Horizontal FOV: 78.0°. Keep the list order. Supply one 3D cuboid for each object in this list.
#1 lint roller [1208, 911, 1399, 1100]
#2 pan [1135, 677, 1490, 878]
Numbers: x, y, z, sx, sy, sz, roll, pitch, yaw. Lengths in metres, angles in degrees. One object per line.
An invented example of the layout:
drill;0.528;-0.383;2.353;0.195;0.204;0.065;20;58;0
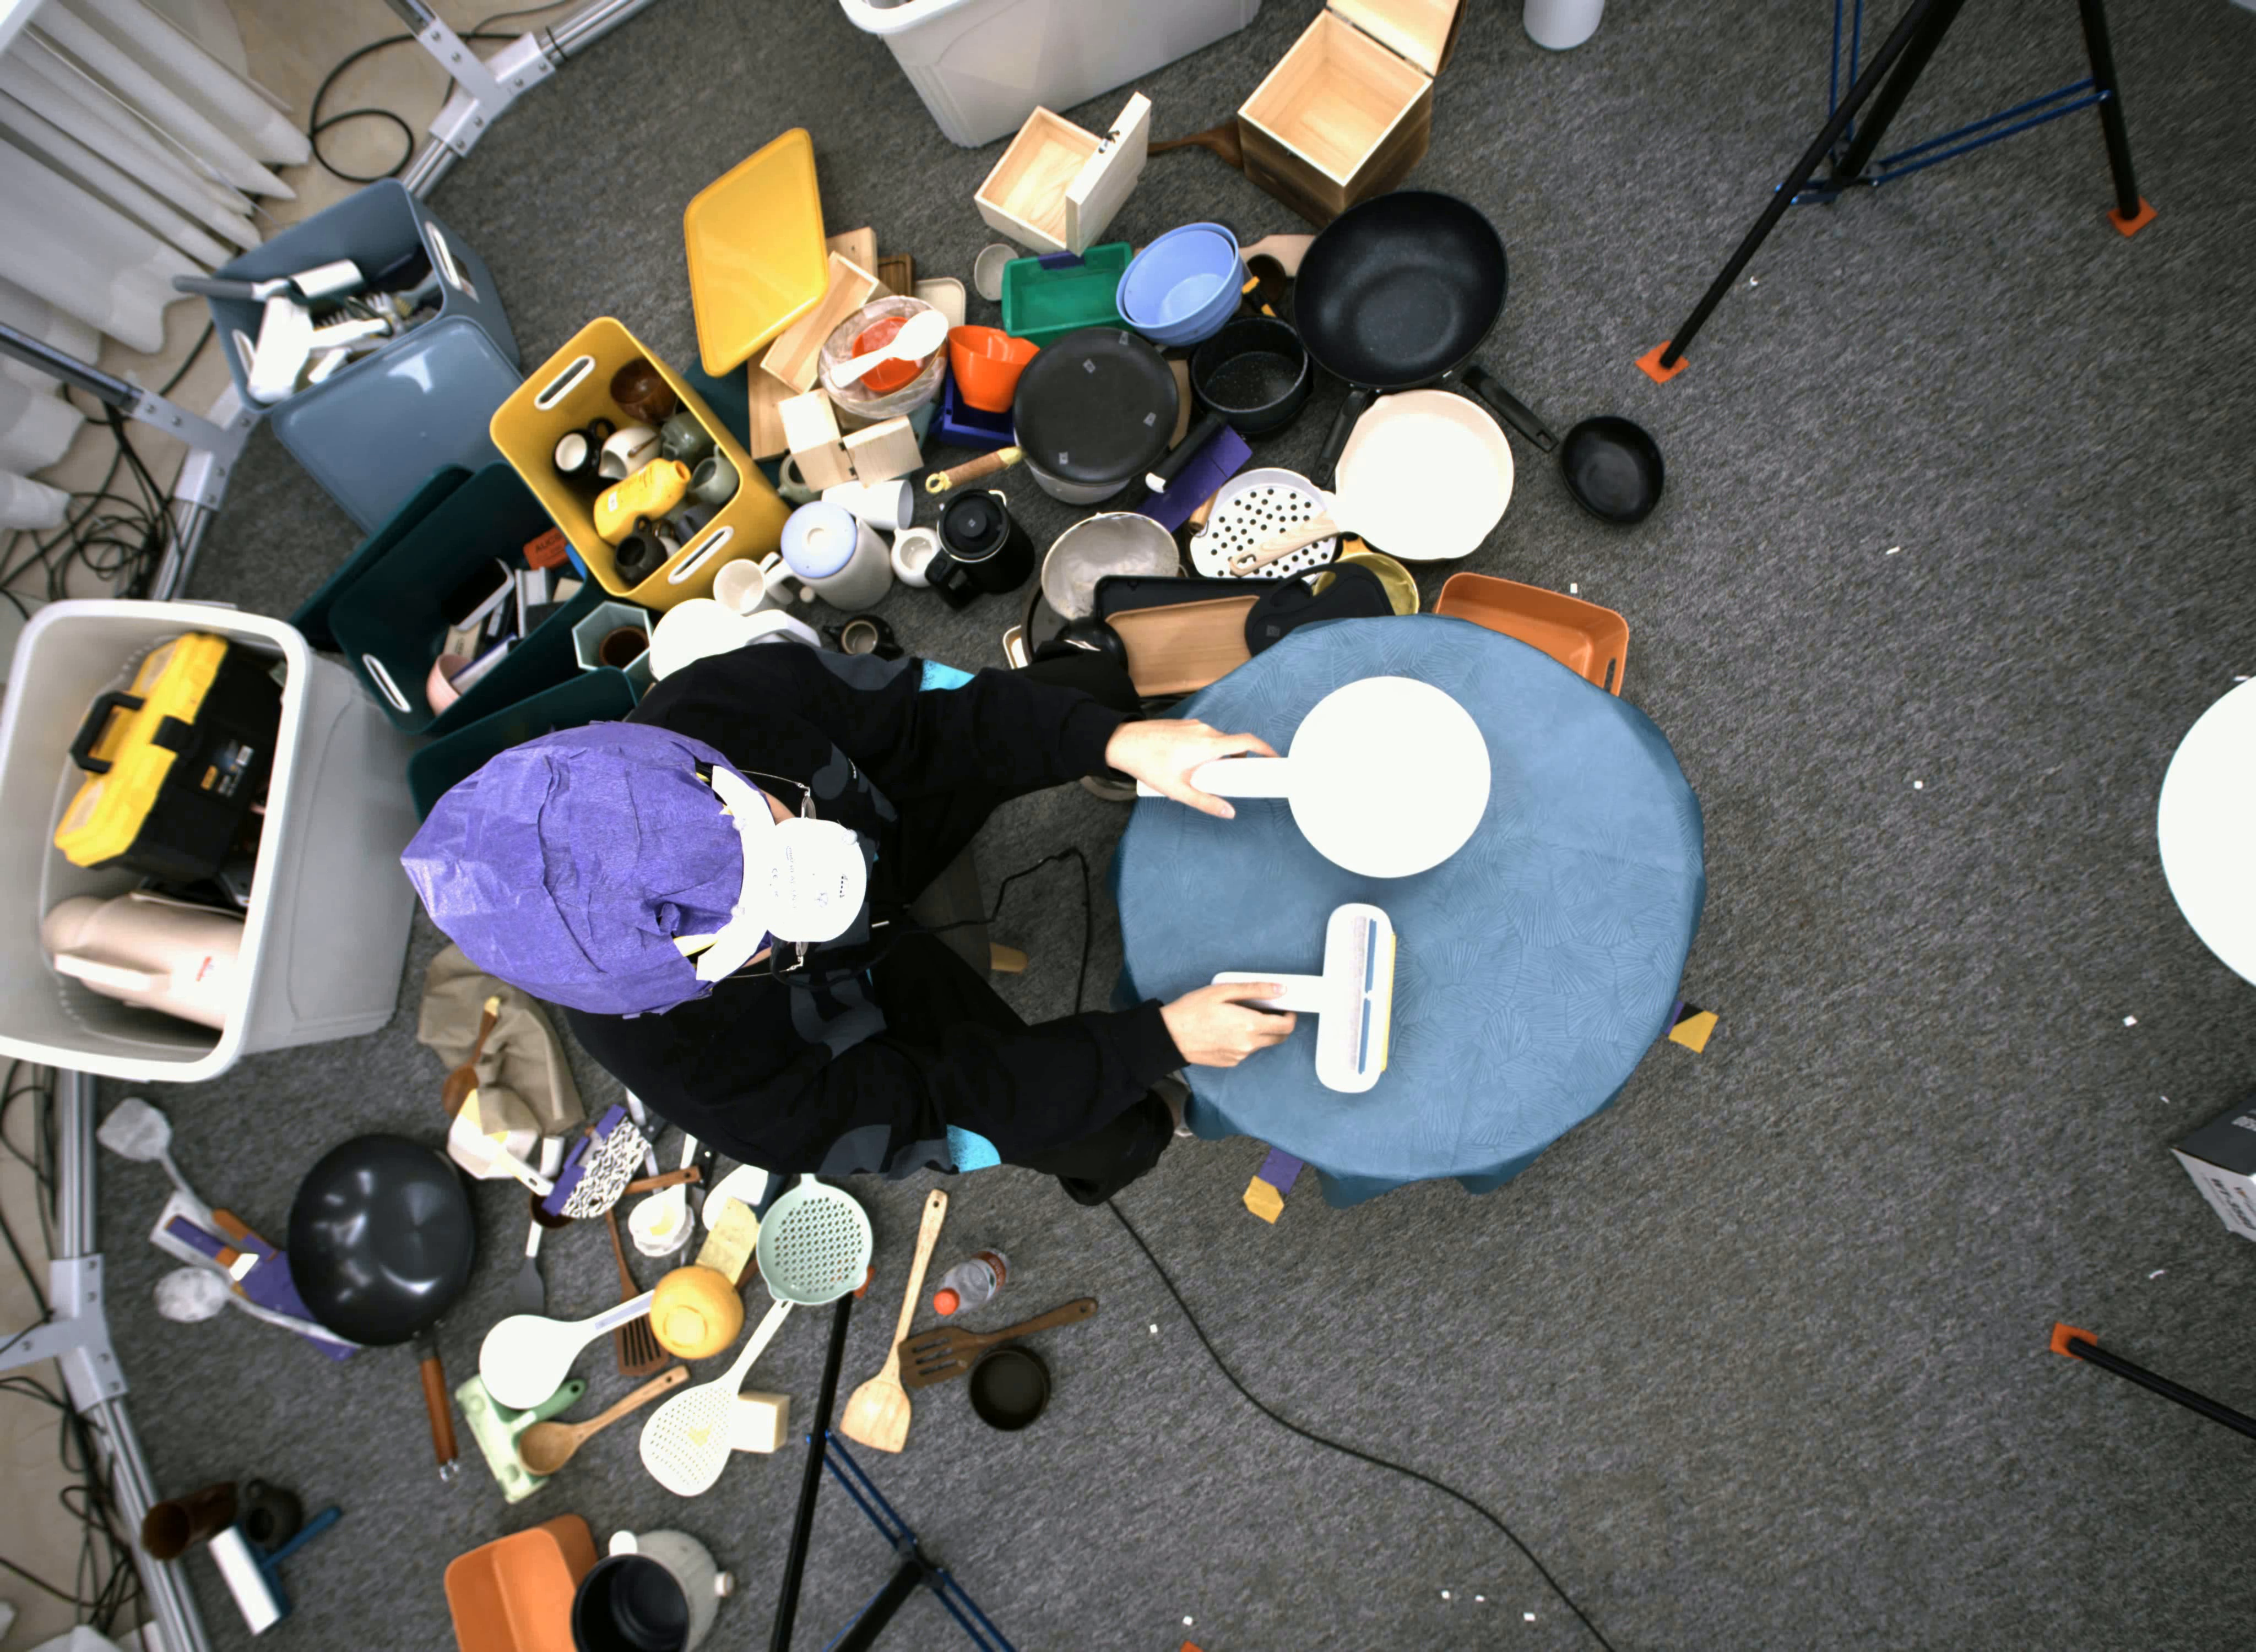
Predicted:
lint roller;0.175;0.175;1.433;0.193;0.074;0.191;8;83;12
pan;0.189;-0.047;1.424;0.356;0.102;0.200;0;87;11
